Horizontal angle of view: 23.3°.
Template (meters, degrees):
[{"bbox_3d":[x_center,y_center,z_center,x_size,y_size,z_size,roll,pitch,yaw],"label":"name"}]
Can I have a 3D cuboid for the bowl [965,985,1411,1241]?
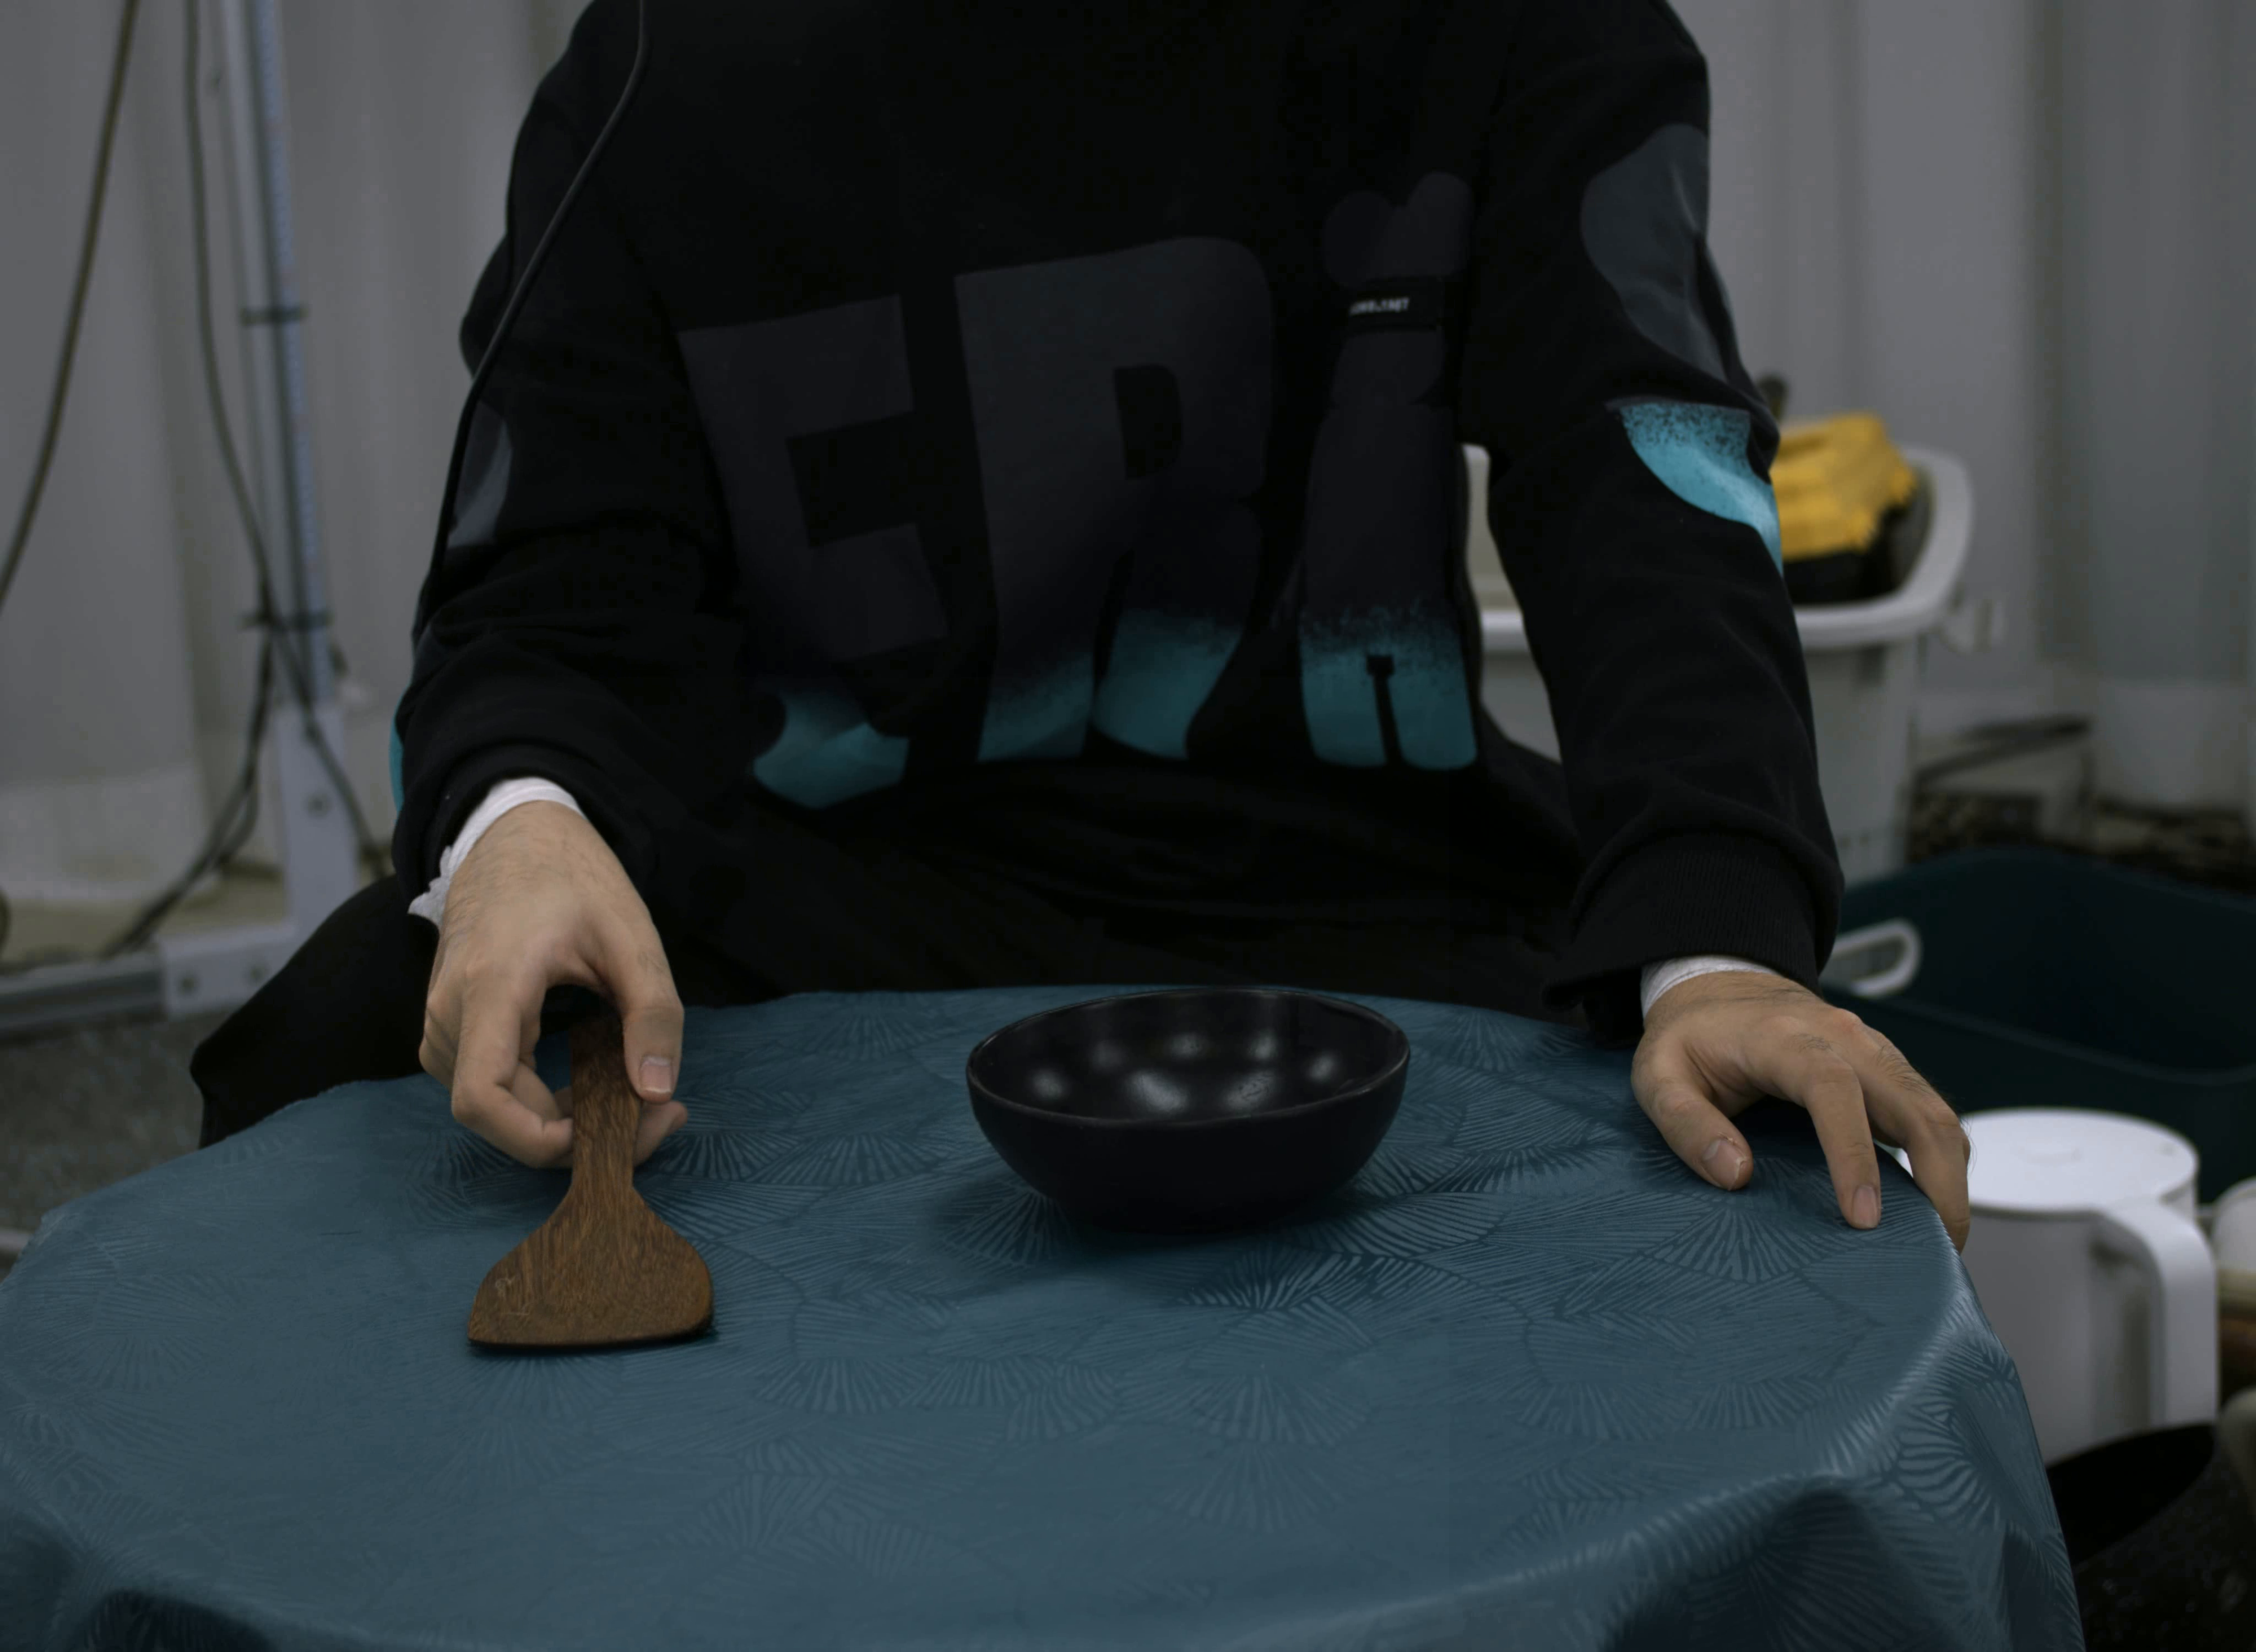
[{"bbox_3d":[0.021,0.094,1.696,0.139,0.049,0.141,-5,15,1],"label":"bowl"}]

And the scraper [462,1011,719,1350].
[{"bbox_3d":[-0.163,0.108,1.691,0.075,0.011,0.214,-2,26,-2],"label":"scraper"}]
